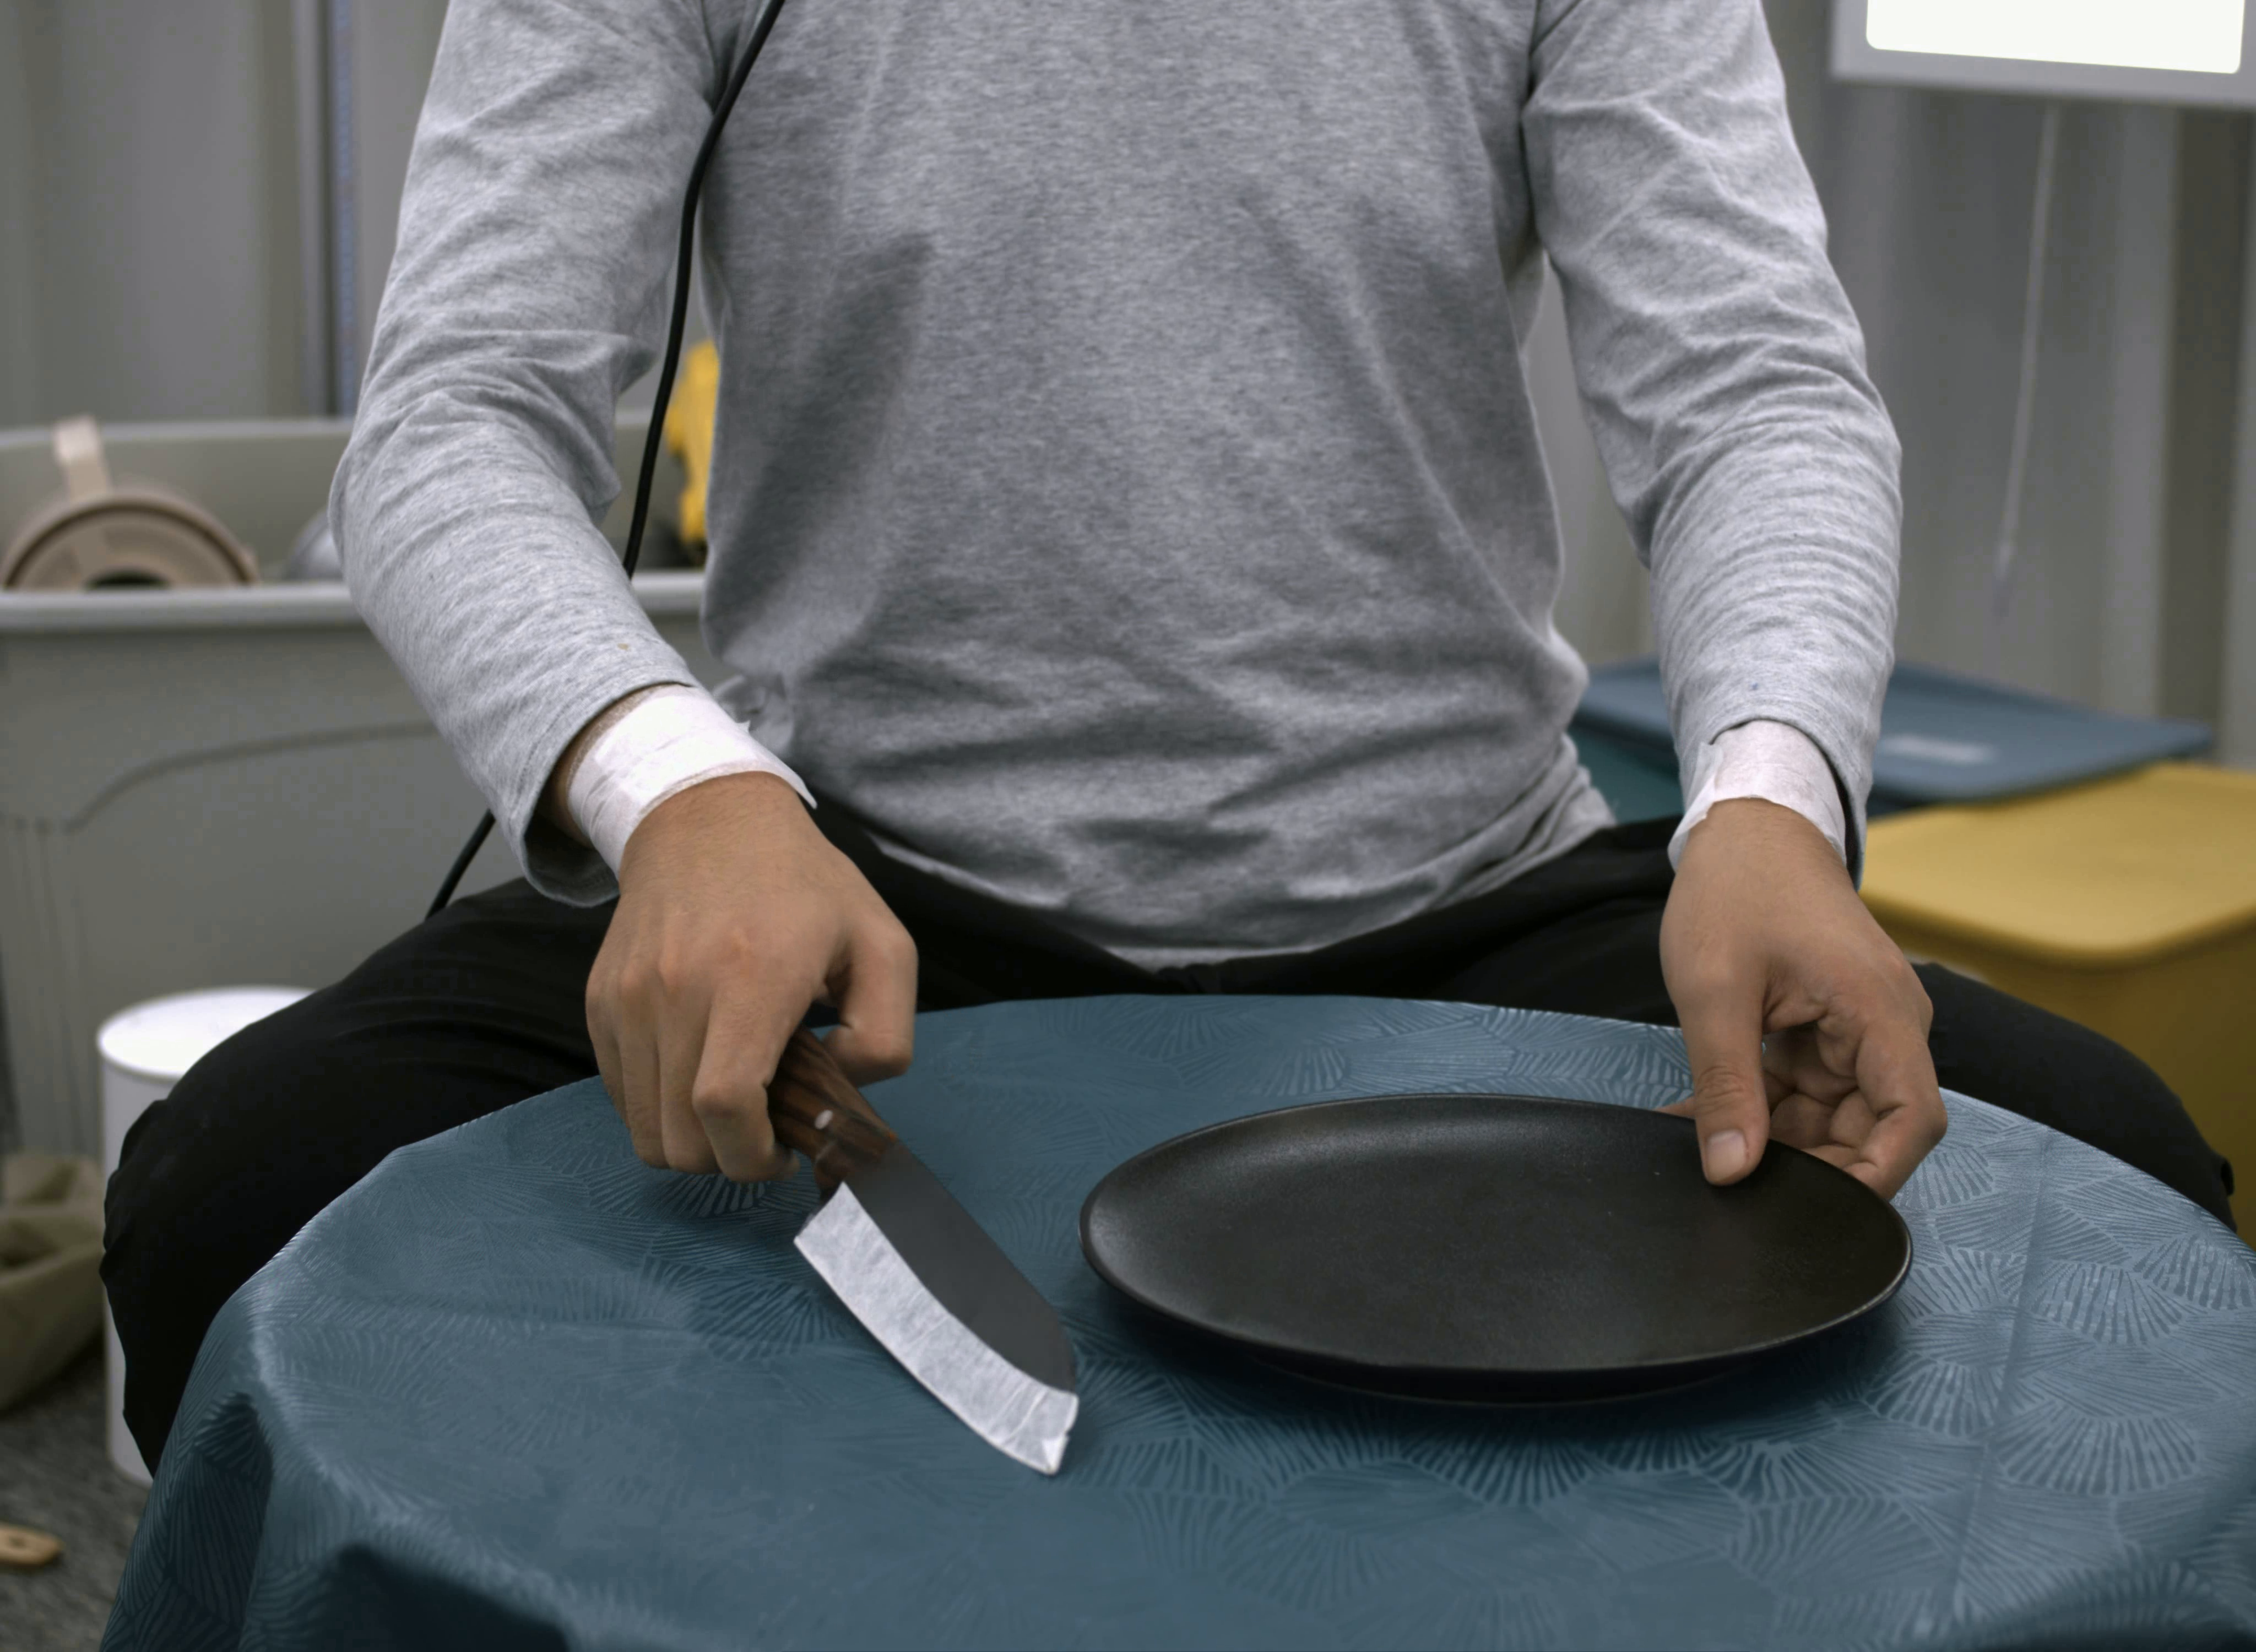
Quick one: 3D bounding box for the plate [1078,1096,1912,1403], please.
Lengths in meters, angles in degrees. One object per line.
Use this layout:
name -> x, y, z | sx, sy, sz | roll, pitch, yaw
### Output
plate -> 0.106, 0.126, 1.538 | 0.243, 0.023, 0.243 | 0, 15, 0

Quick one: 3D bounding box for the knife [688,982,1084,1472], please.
knife -> -0.072, 0.112, 1.518 | 0.020, 0.050, 0.285 | 42, 2, -34
